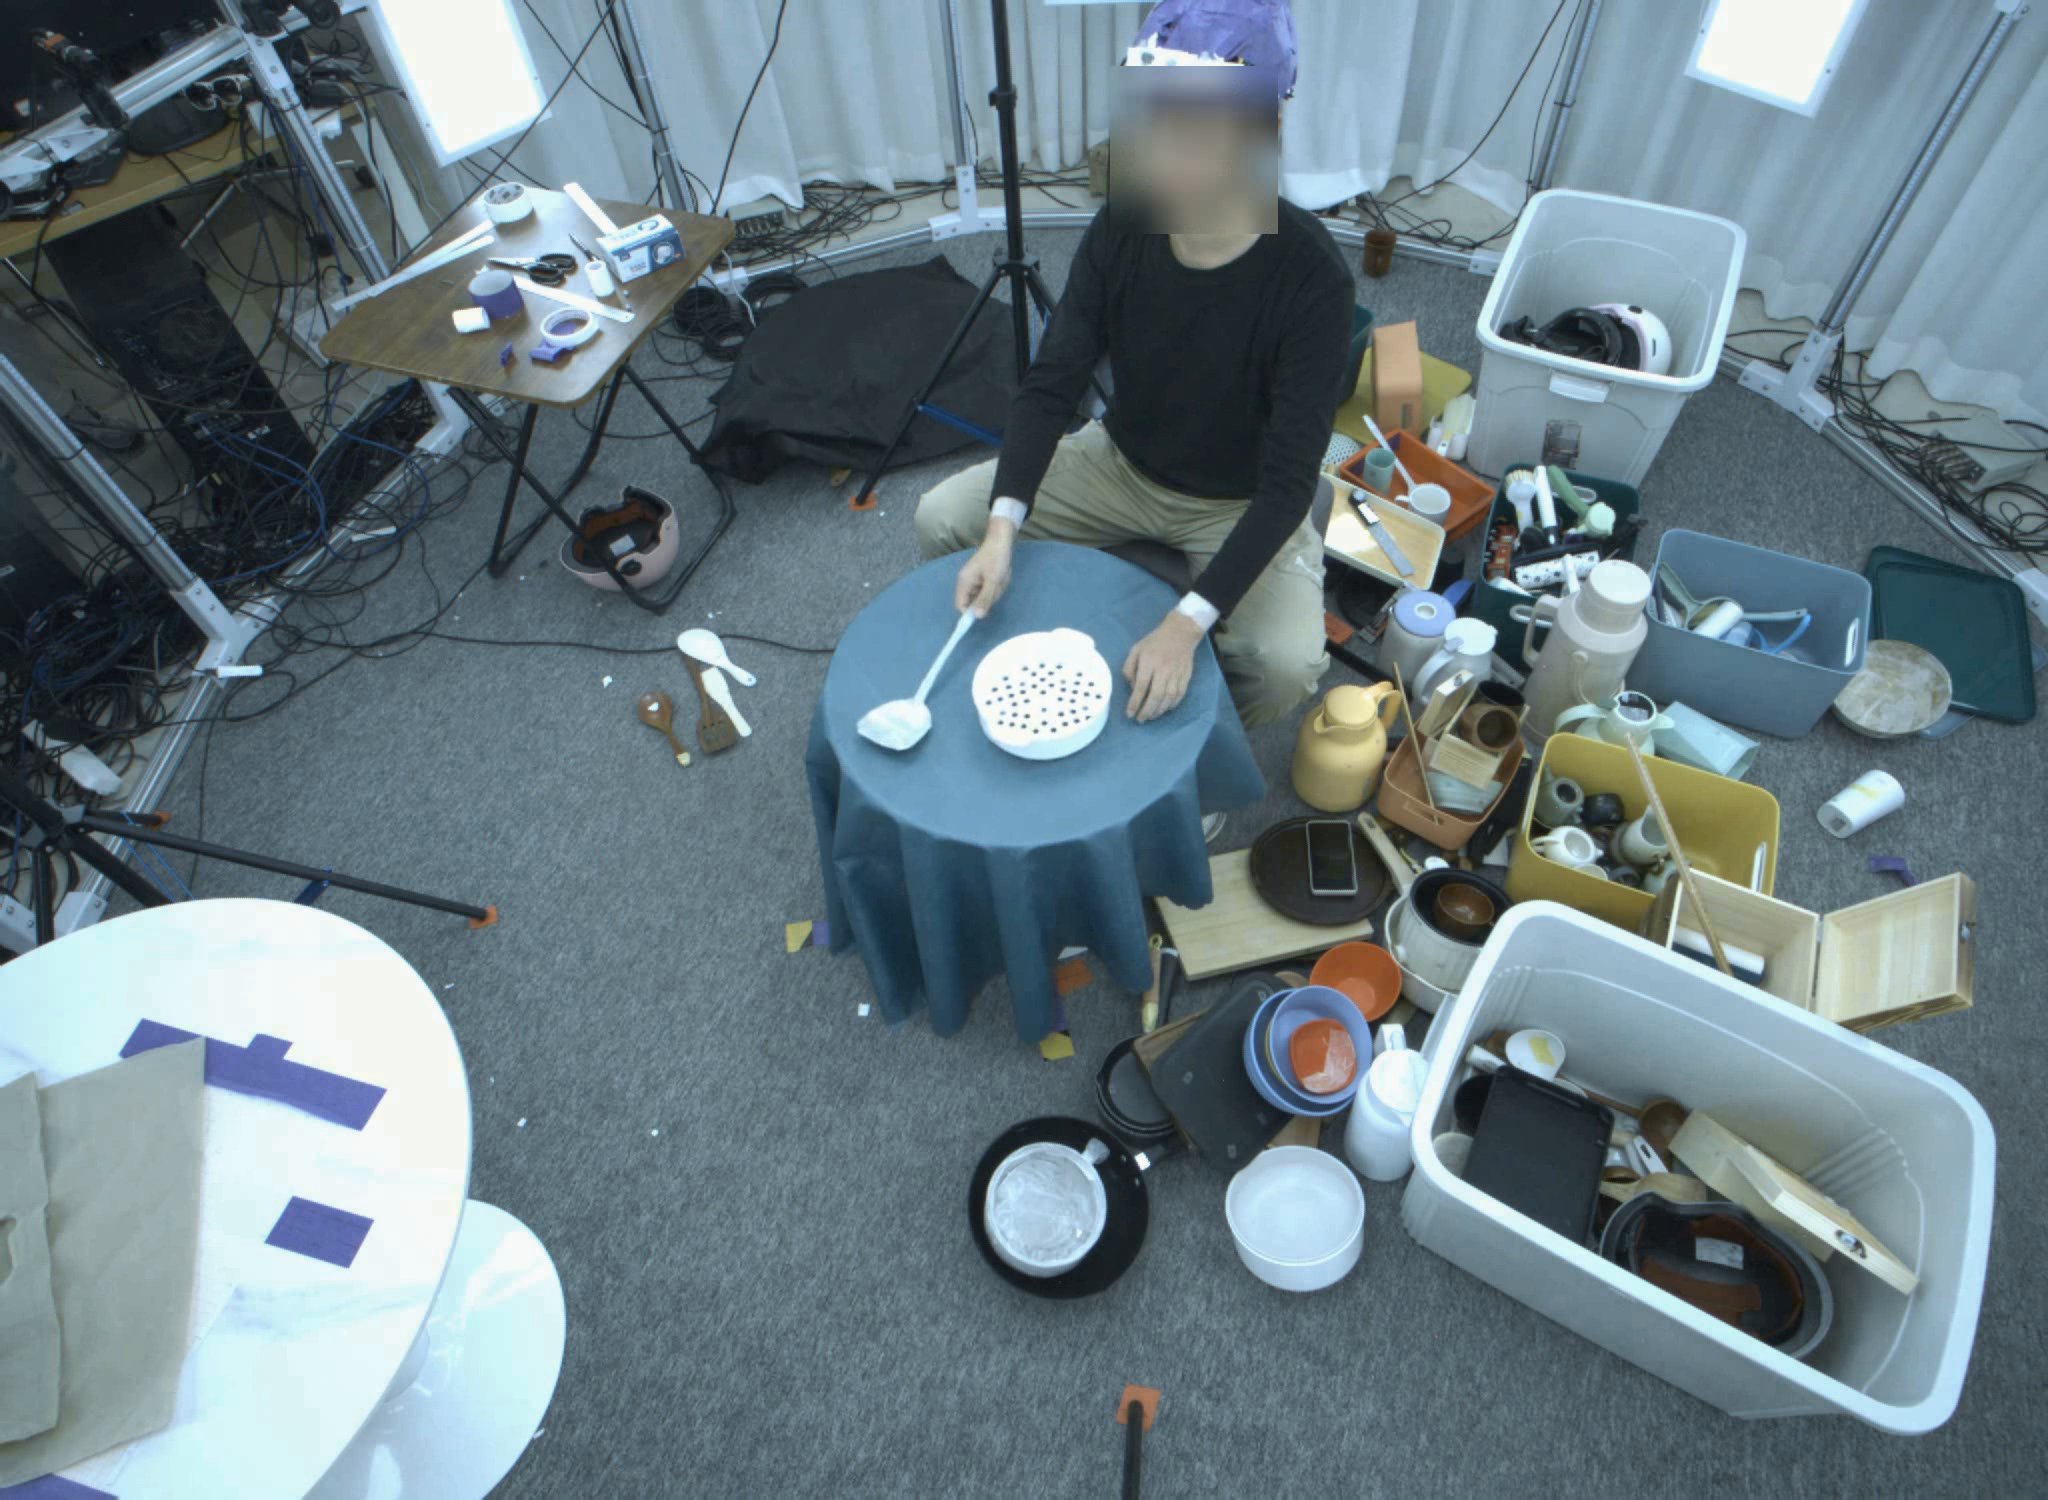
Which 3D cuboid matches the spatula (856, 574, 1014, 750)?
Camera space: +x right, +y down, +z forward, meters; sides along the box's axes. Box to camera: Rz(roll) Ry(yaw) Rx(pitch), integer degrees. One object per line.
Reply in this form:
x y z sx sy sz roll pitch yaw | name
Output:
-0.120 -0.145 1.849 0.097 0.045 0.365 23 69 22 | spatula

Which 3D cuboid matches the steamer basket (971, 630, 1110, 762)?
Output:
0.024 -0.075 1.797 0.199 0.070 0.231 24 58 16 | steamer basket
